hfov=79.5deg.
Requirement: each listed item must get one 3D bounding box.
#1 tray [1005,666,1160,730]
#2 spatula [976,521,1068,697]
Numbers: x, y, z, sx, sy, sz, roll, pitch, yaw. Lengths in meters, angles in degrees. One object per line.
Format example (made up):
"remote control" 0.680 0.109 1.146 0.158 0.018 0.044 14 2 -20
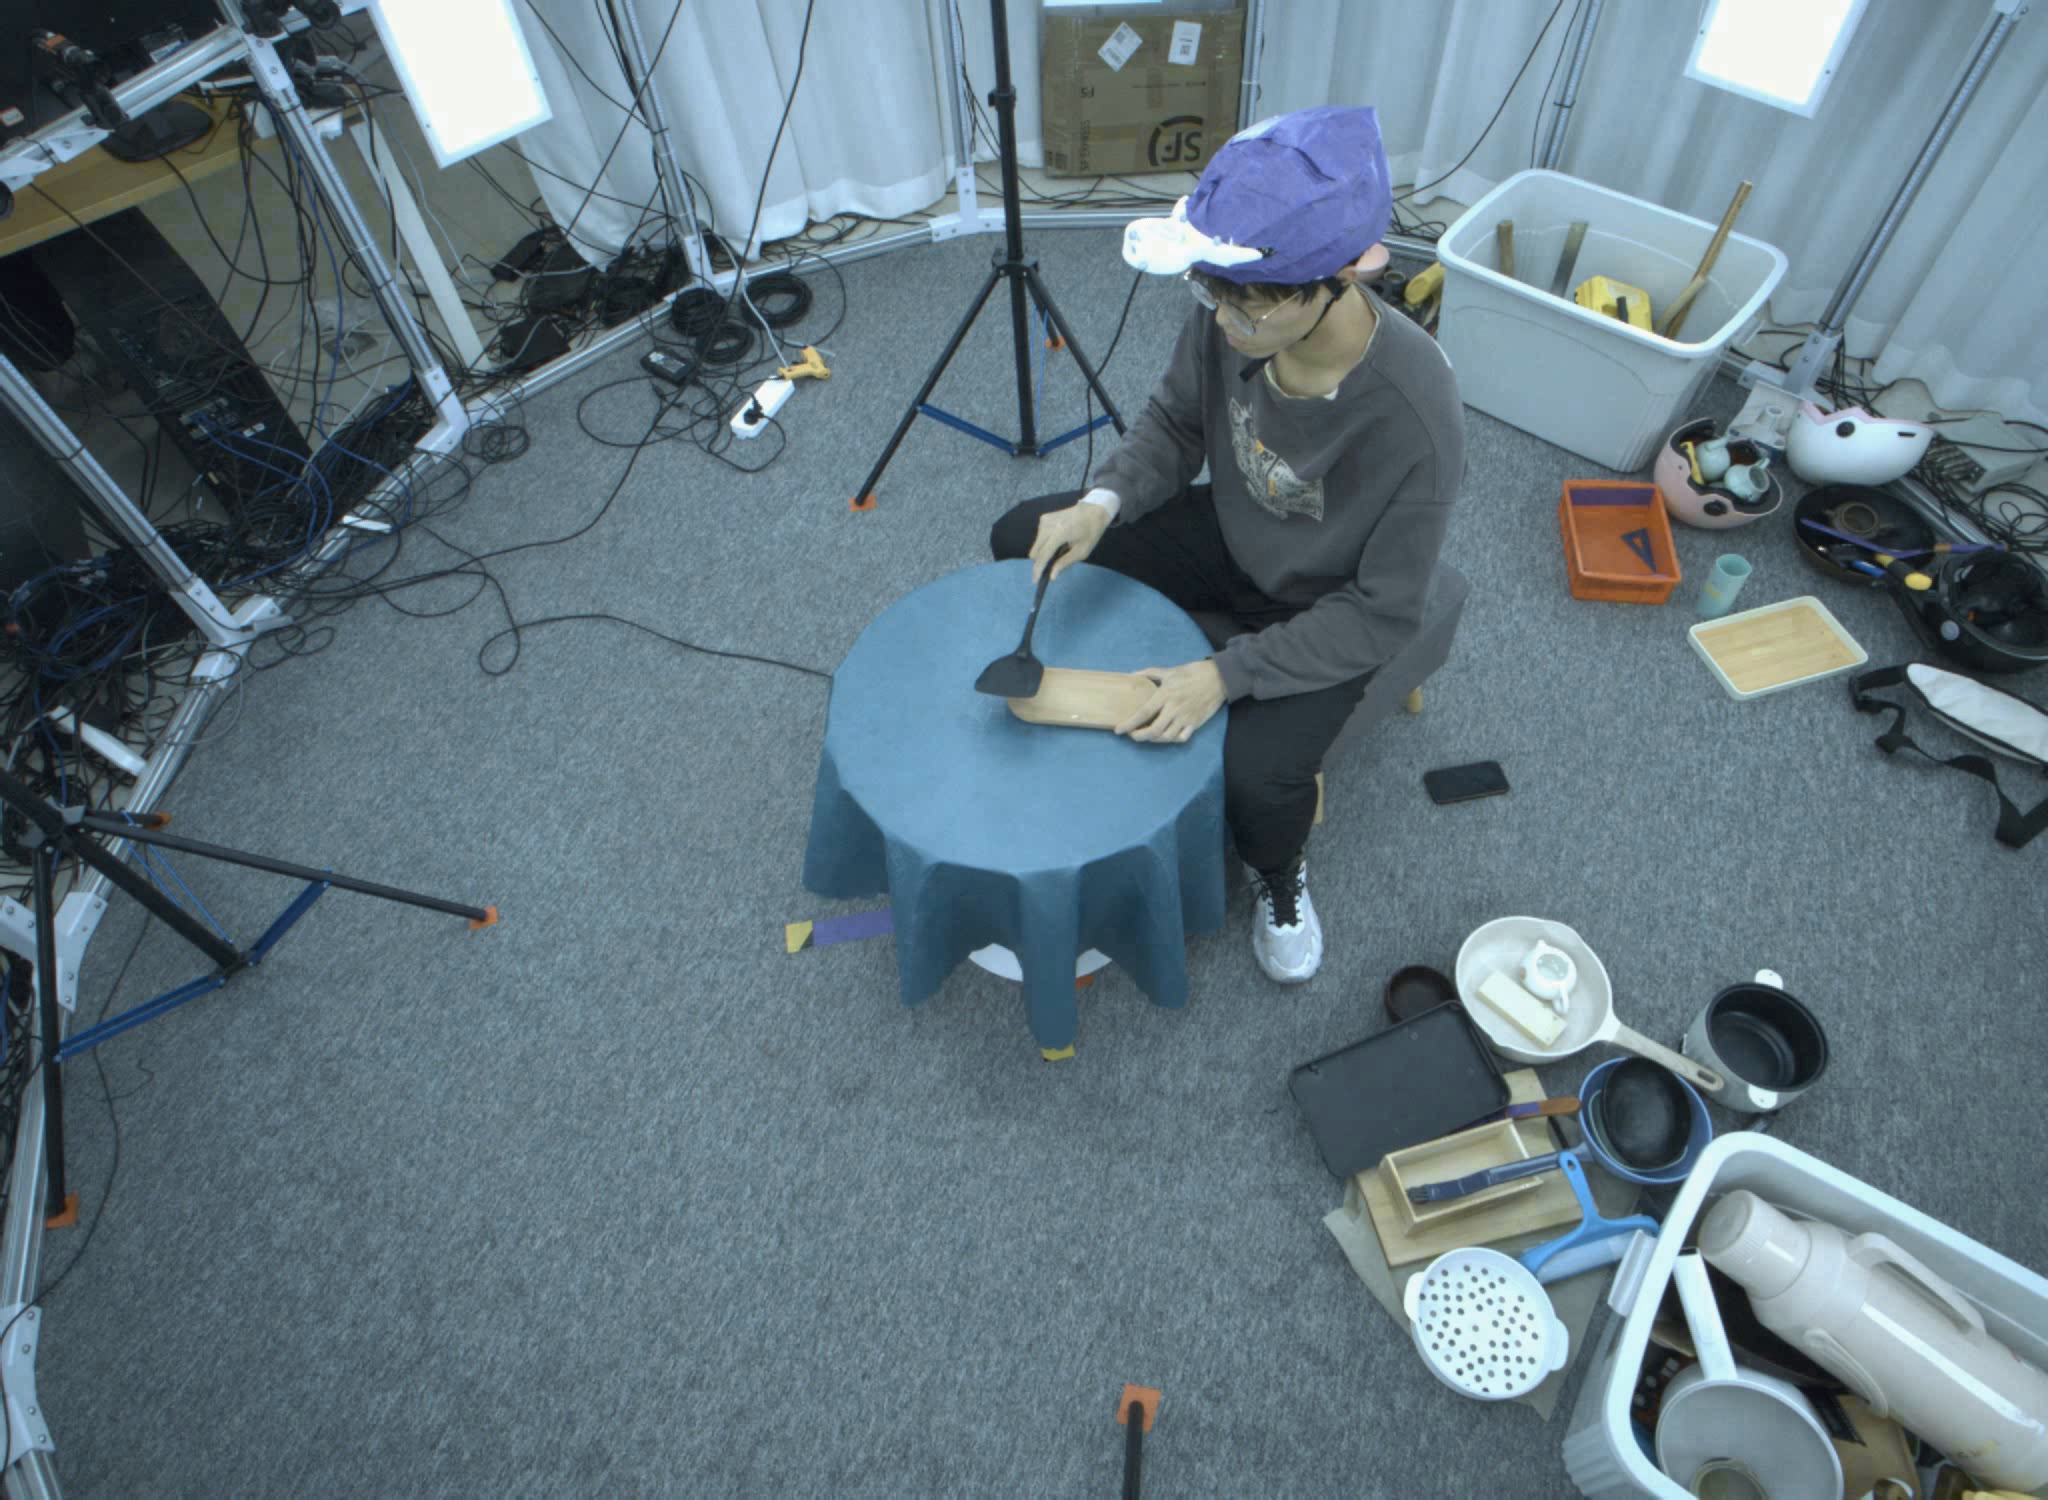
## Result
"tray" 0.086 -0.077 1.827 0.230 0.020 0.101 4 53 7
"spatula" 0.017 -0.215 1.825 0.098 0.041 0.325 9 68 16
